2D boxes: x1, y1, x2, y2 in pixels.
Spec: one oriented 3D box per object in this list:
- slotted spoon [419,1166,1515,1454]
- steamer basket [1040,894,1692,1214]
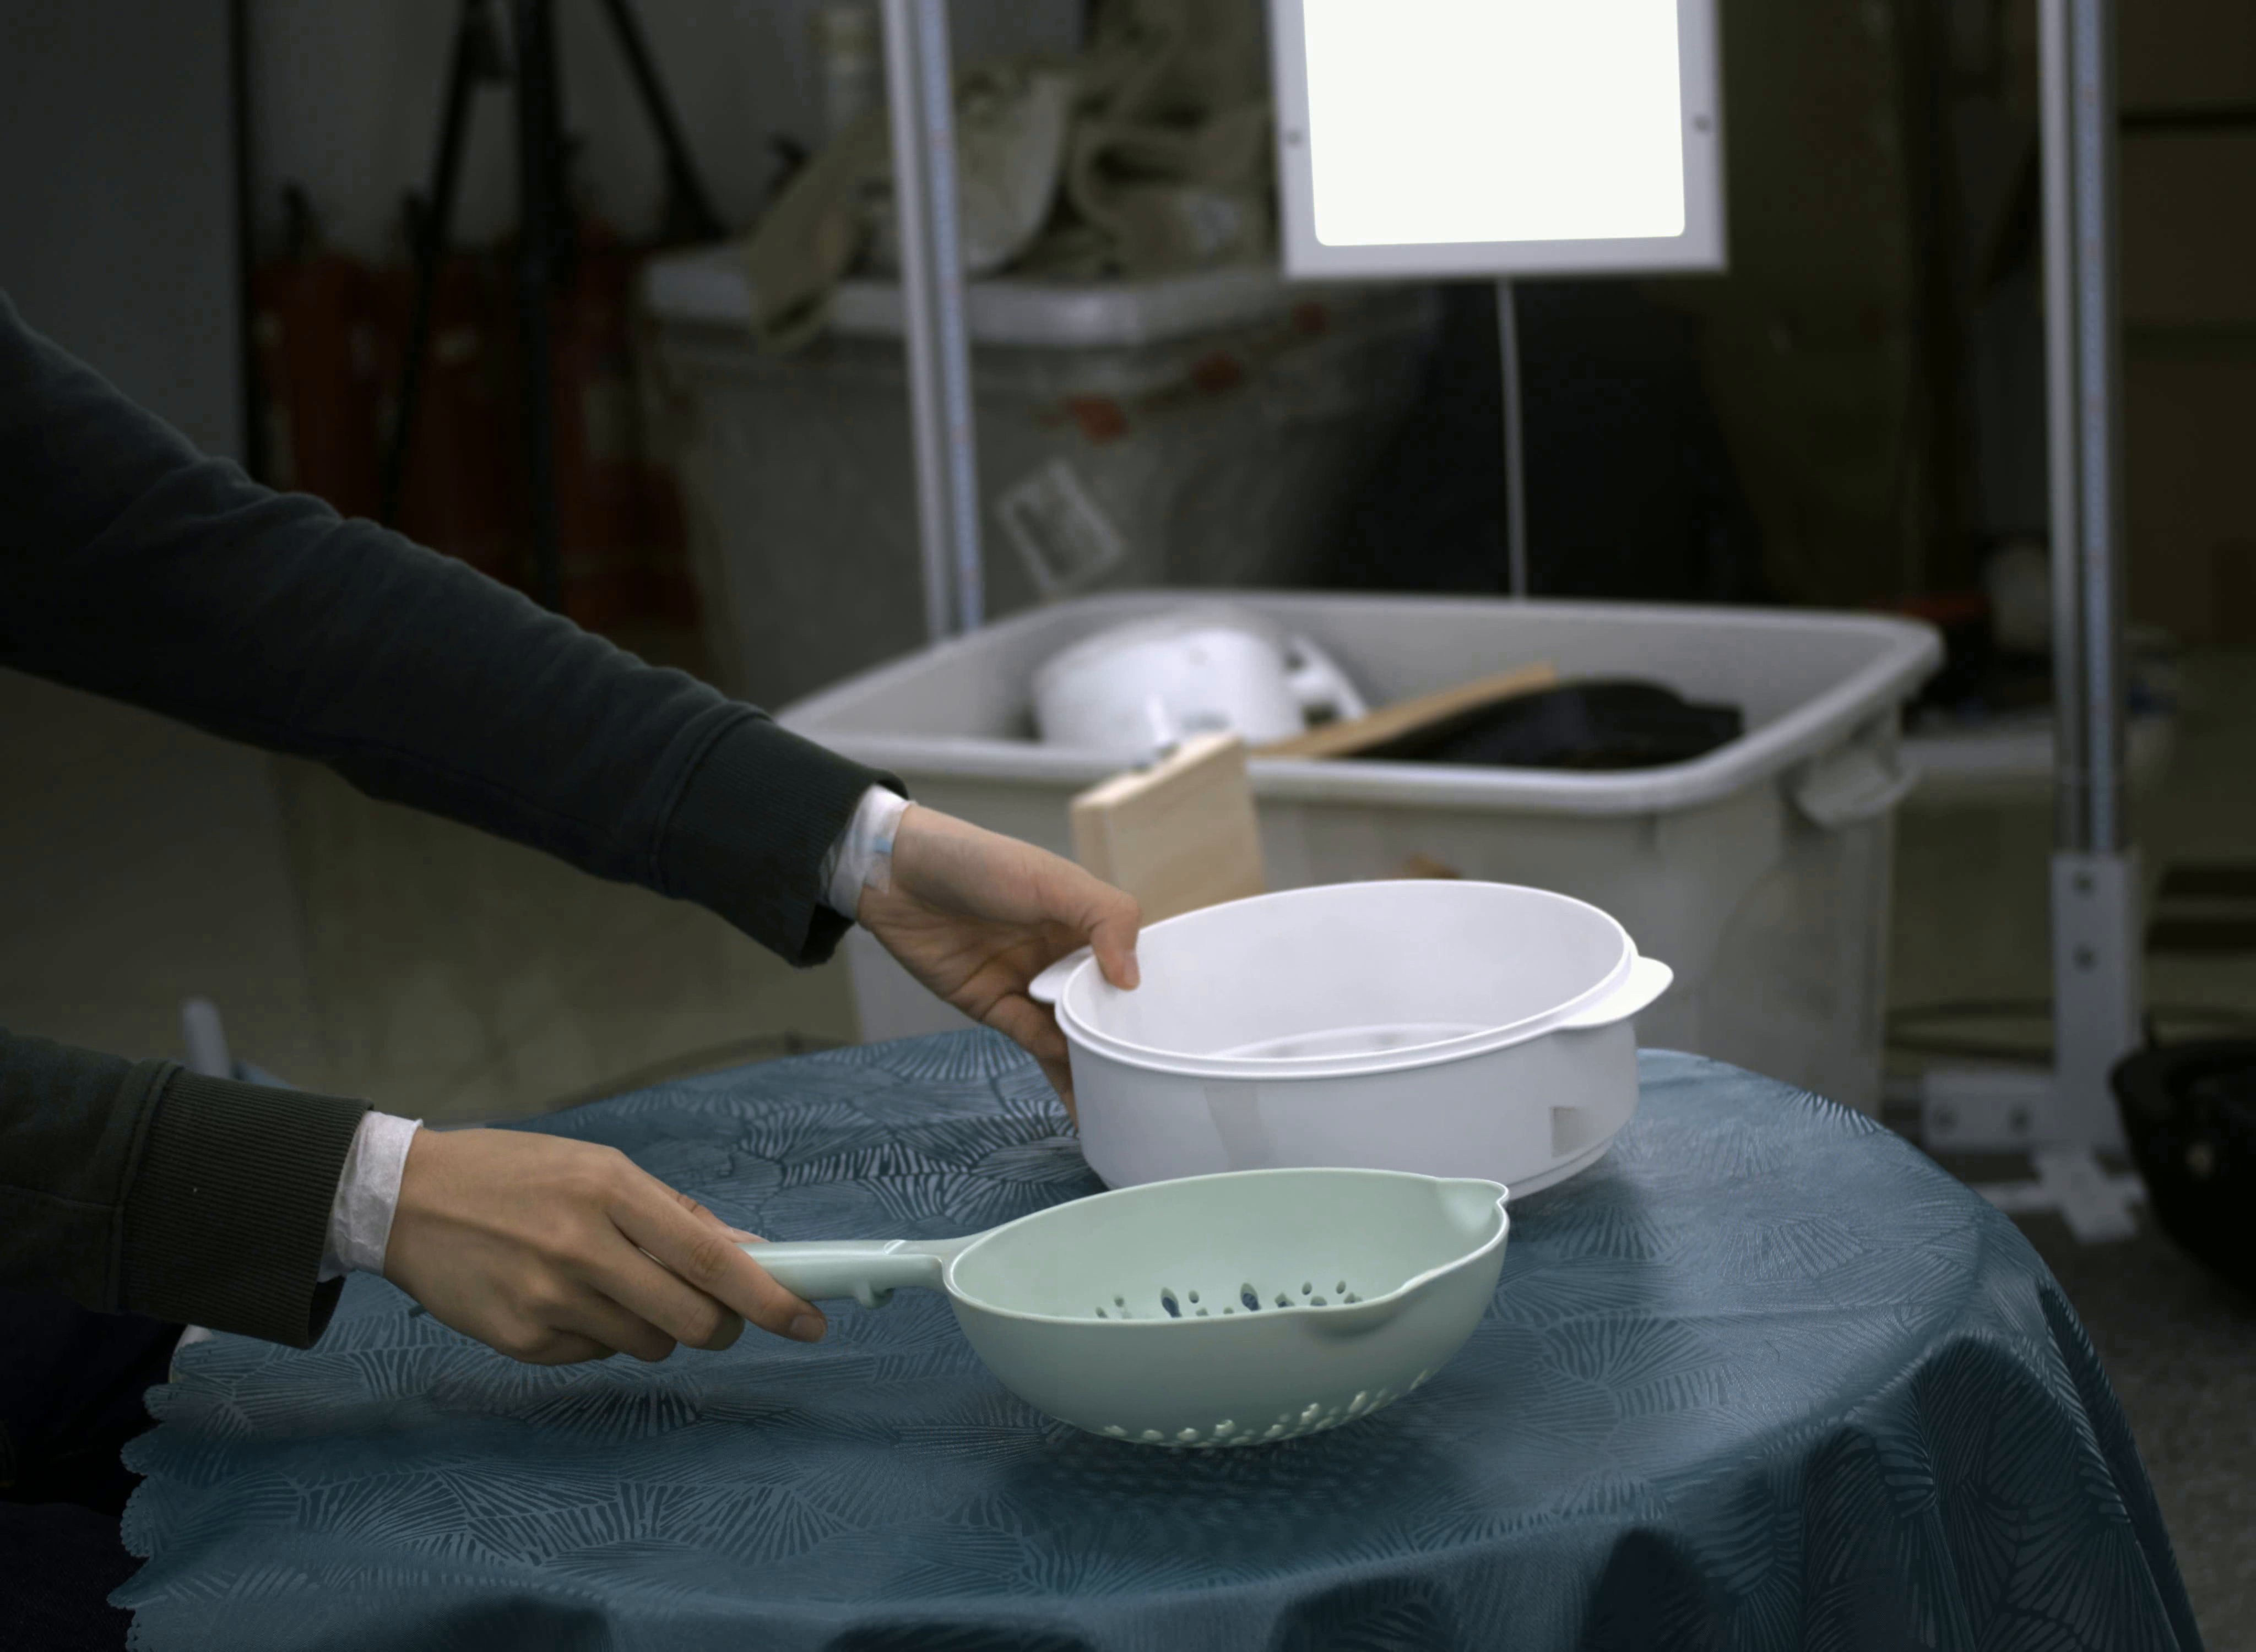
[{"bbox_3d":[-0.058,0.141,1.687,0.364,0.076,0.166,6,14,22],"label":"slotted spoon"},{"bbox_3d":[0.083,0.082,1.885,0.234,0.069,0.197,1,16,27],"label":"steamer basket"}]
